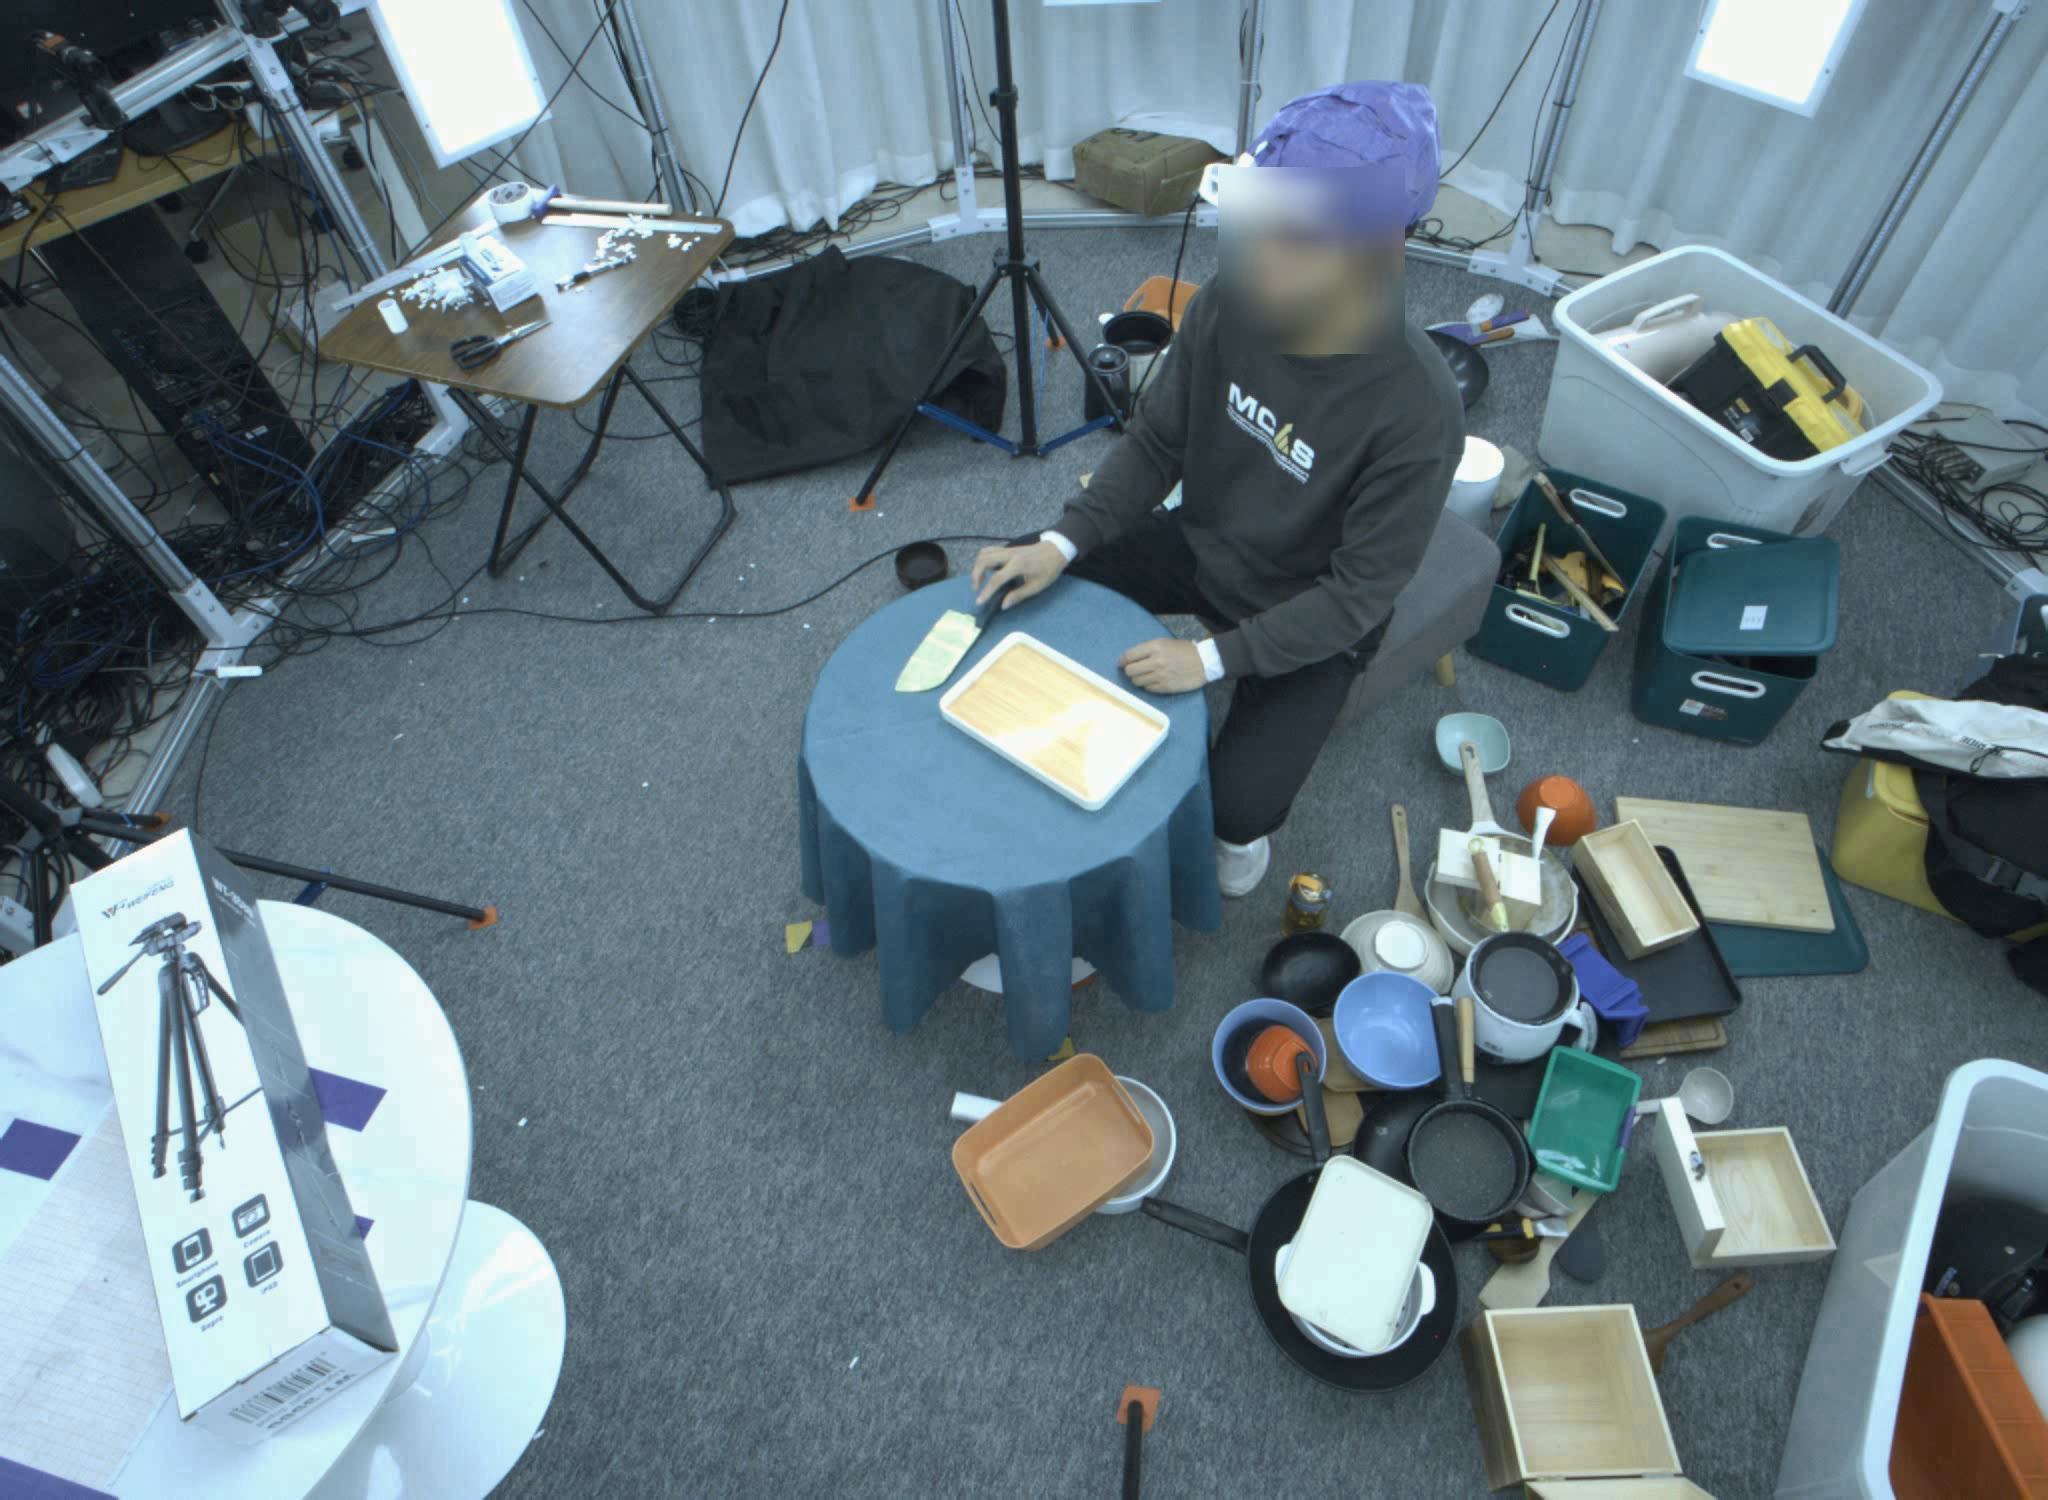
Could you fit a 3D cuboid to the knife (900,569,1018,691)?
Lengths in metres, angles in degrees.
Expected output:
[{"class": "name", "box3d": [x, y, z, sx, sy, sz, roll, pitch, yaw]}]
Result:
[{"class": "knife", "box3d": [-0.102, -0.192, 1.926, 0.080, 0.027, 0.290, 27, 60, 19]}]

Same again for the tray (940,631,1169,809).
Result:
[{"class": "tray", "box3d": [0.043, -0.050, 1.813, 0.295, 0.027, 0.193, 33, 60, 22]}]
